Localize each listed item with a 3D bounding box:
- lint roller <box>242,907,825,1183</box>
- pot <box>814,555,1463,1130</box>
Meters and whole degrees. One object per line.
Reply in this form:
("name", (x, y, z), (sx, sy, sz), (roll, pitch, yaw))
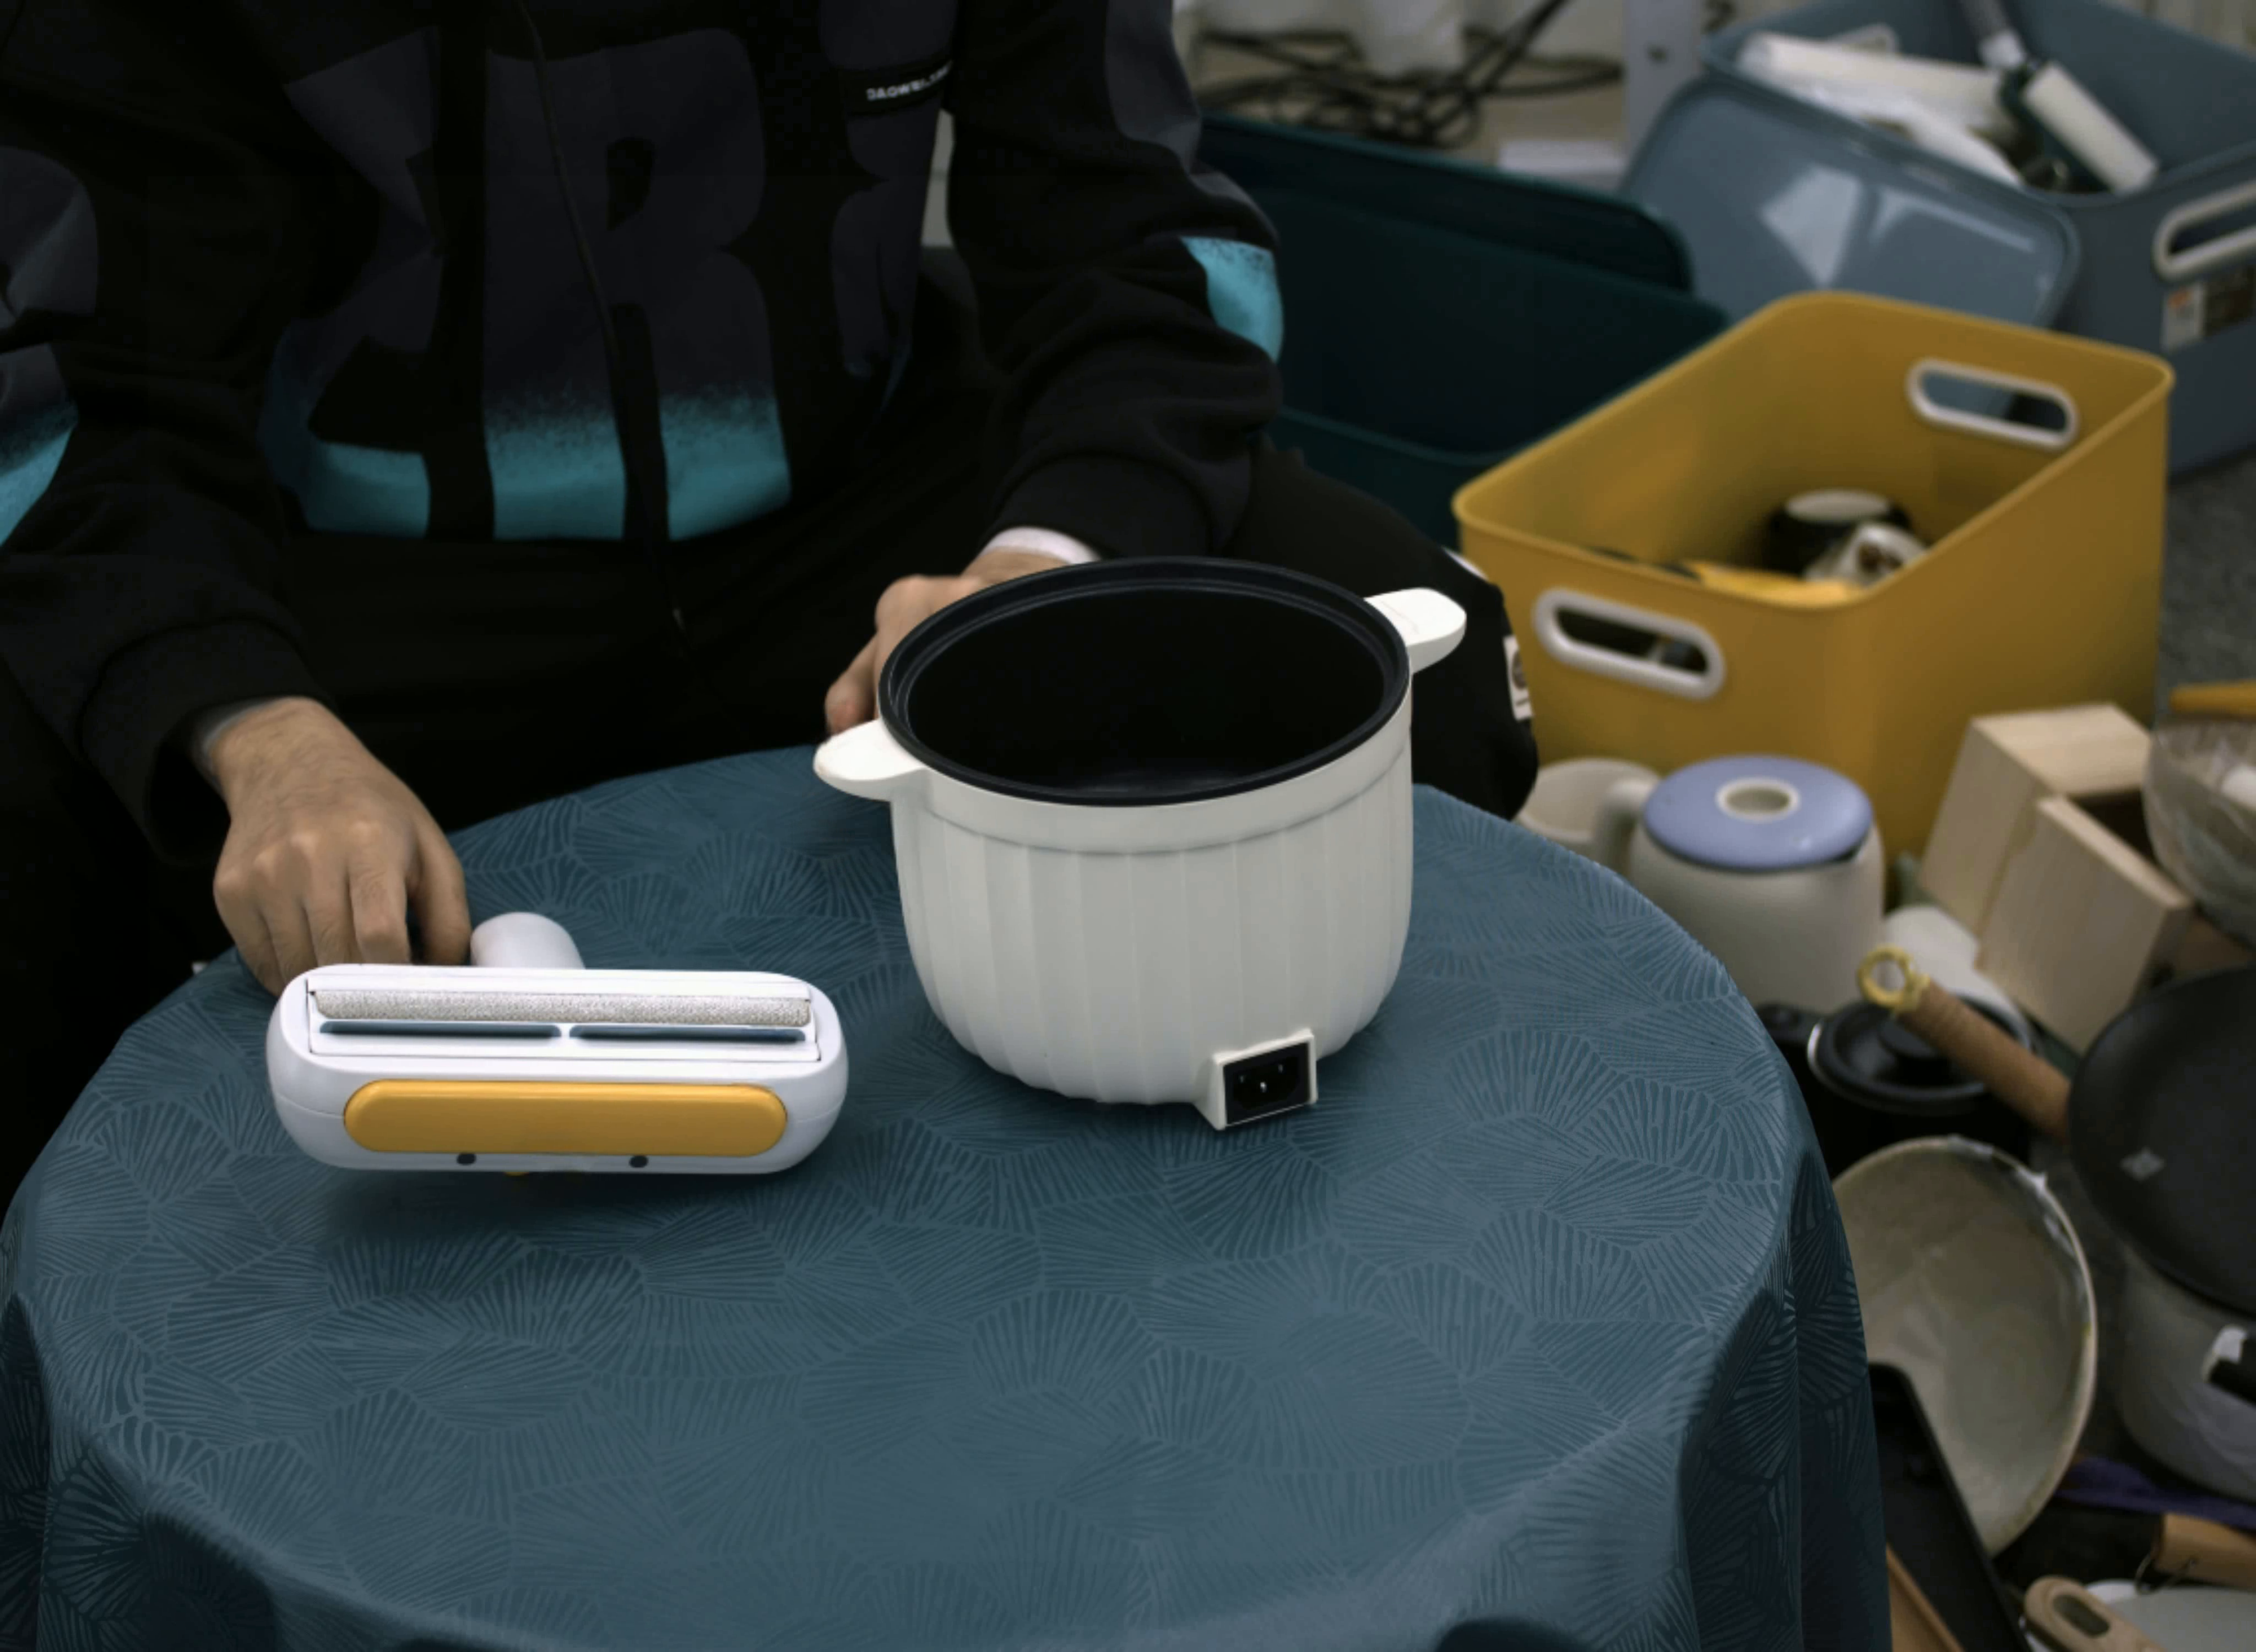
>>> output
("lint roller", (-0.203, 0.062, 1.921), (0.192, 0.073, 0.195), (-1, 26, -7))
("pot", (0.005, 0.004, 1.936), (0.241, 0.141, 0.192), (-13, 31, -22))
